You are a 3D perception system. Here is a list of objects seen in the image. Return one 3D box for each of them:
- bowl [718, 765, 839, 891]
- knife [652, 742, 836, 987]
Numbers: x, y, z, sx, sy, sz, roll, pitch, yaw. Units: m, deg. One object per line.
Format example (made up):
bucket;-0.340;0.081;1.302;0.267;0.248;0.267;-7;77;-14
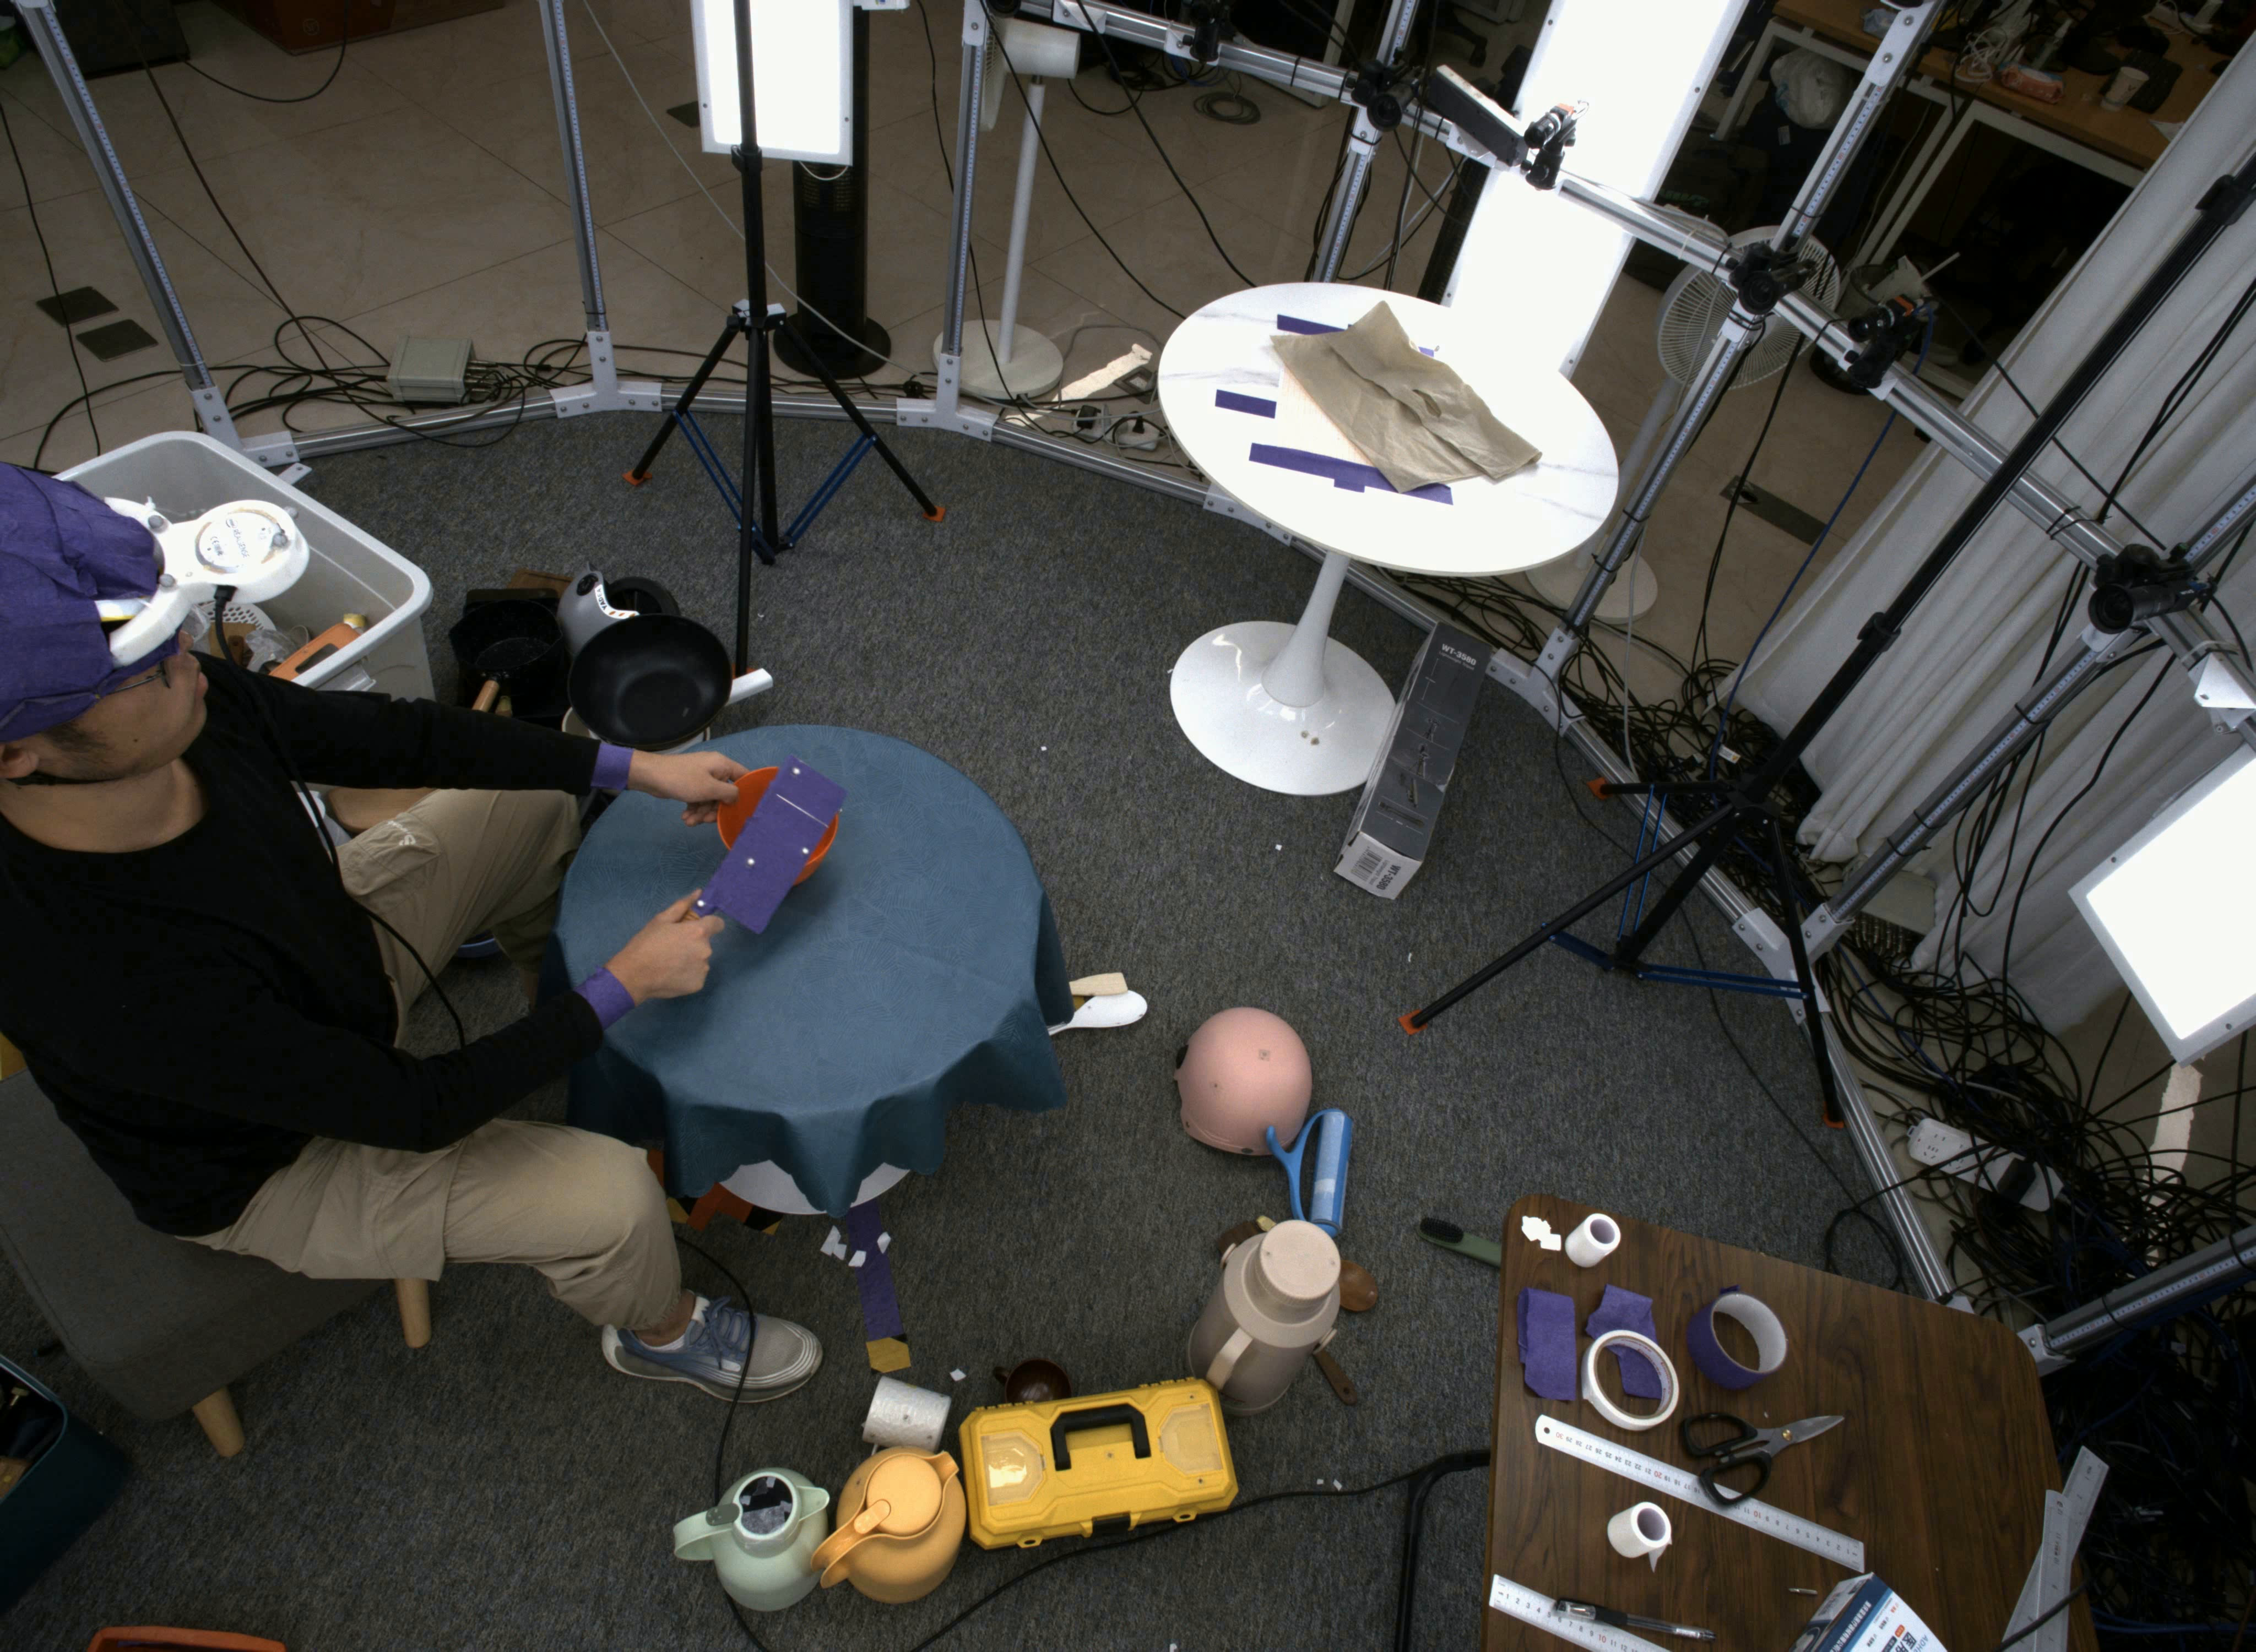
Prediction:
bowl;-0.441;0.013;1.640;0.148;0.106;0.145;9;51;-9
knife;-0.452;0.059;1.545;0.107;0.031;0.316;36;76;-33
